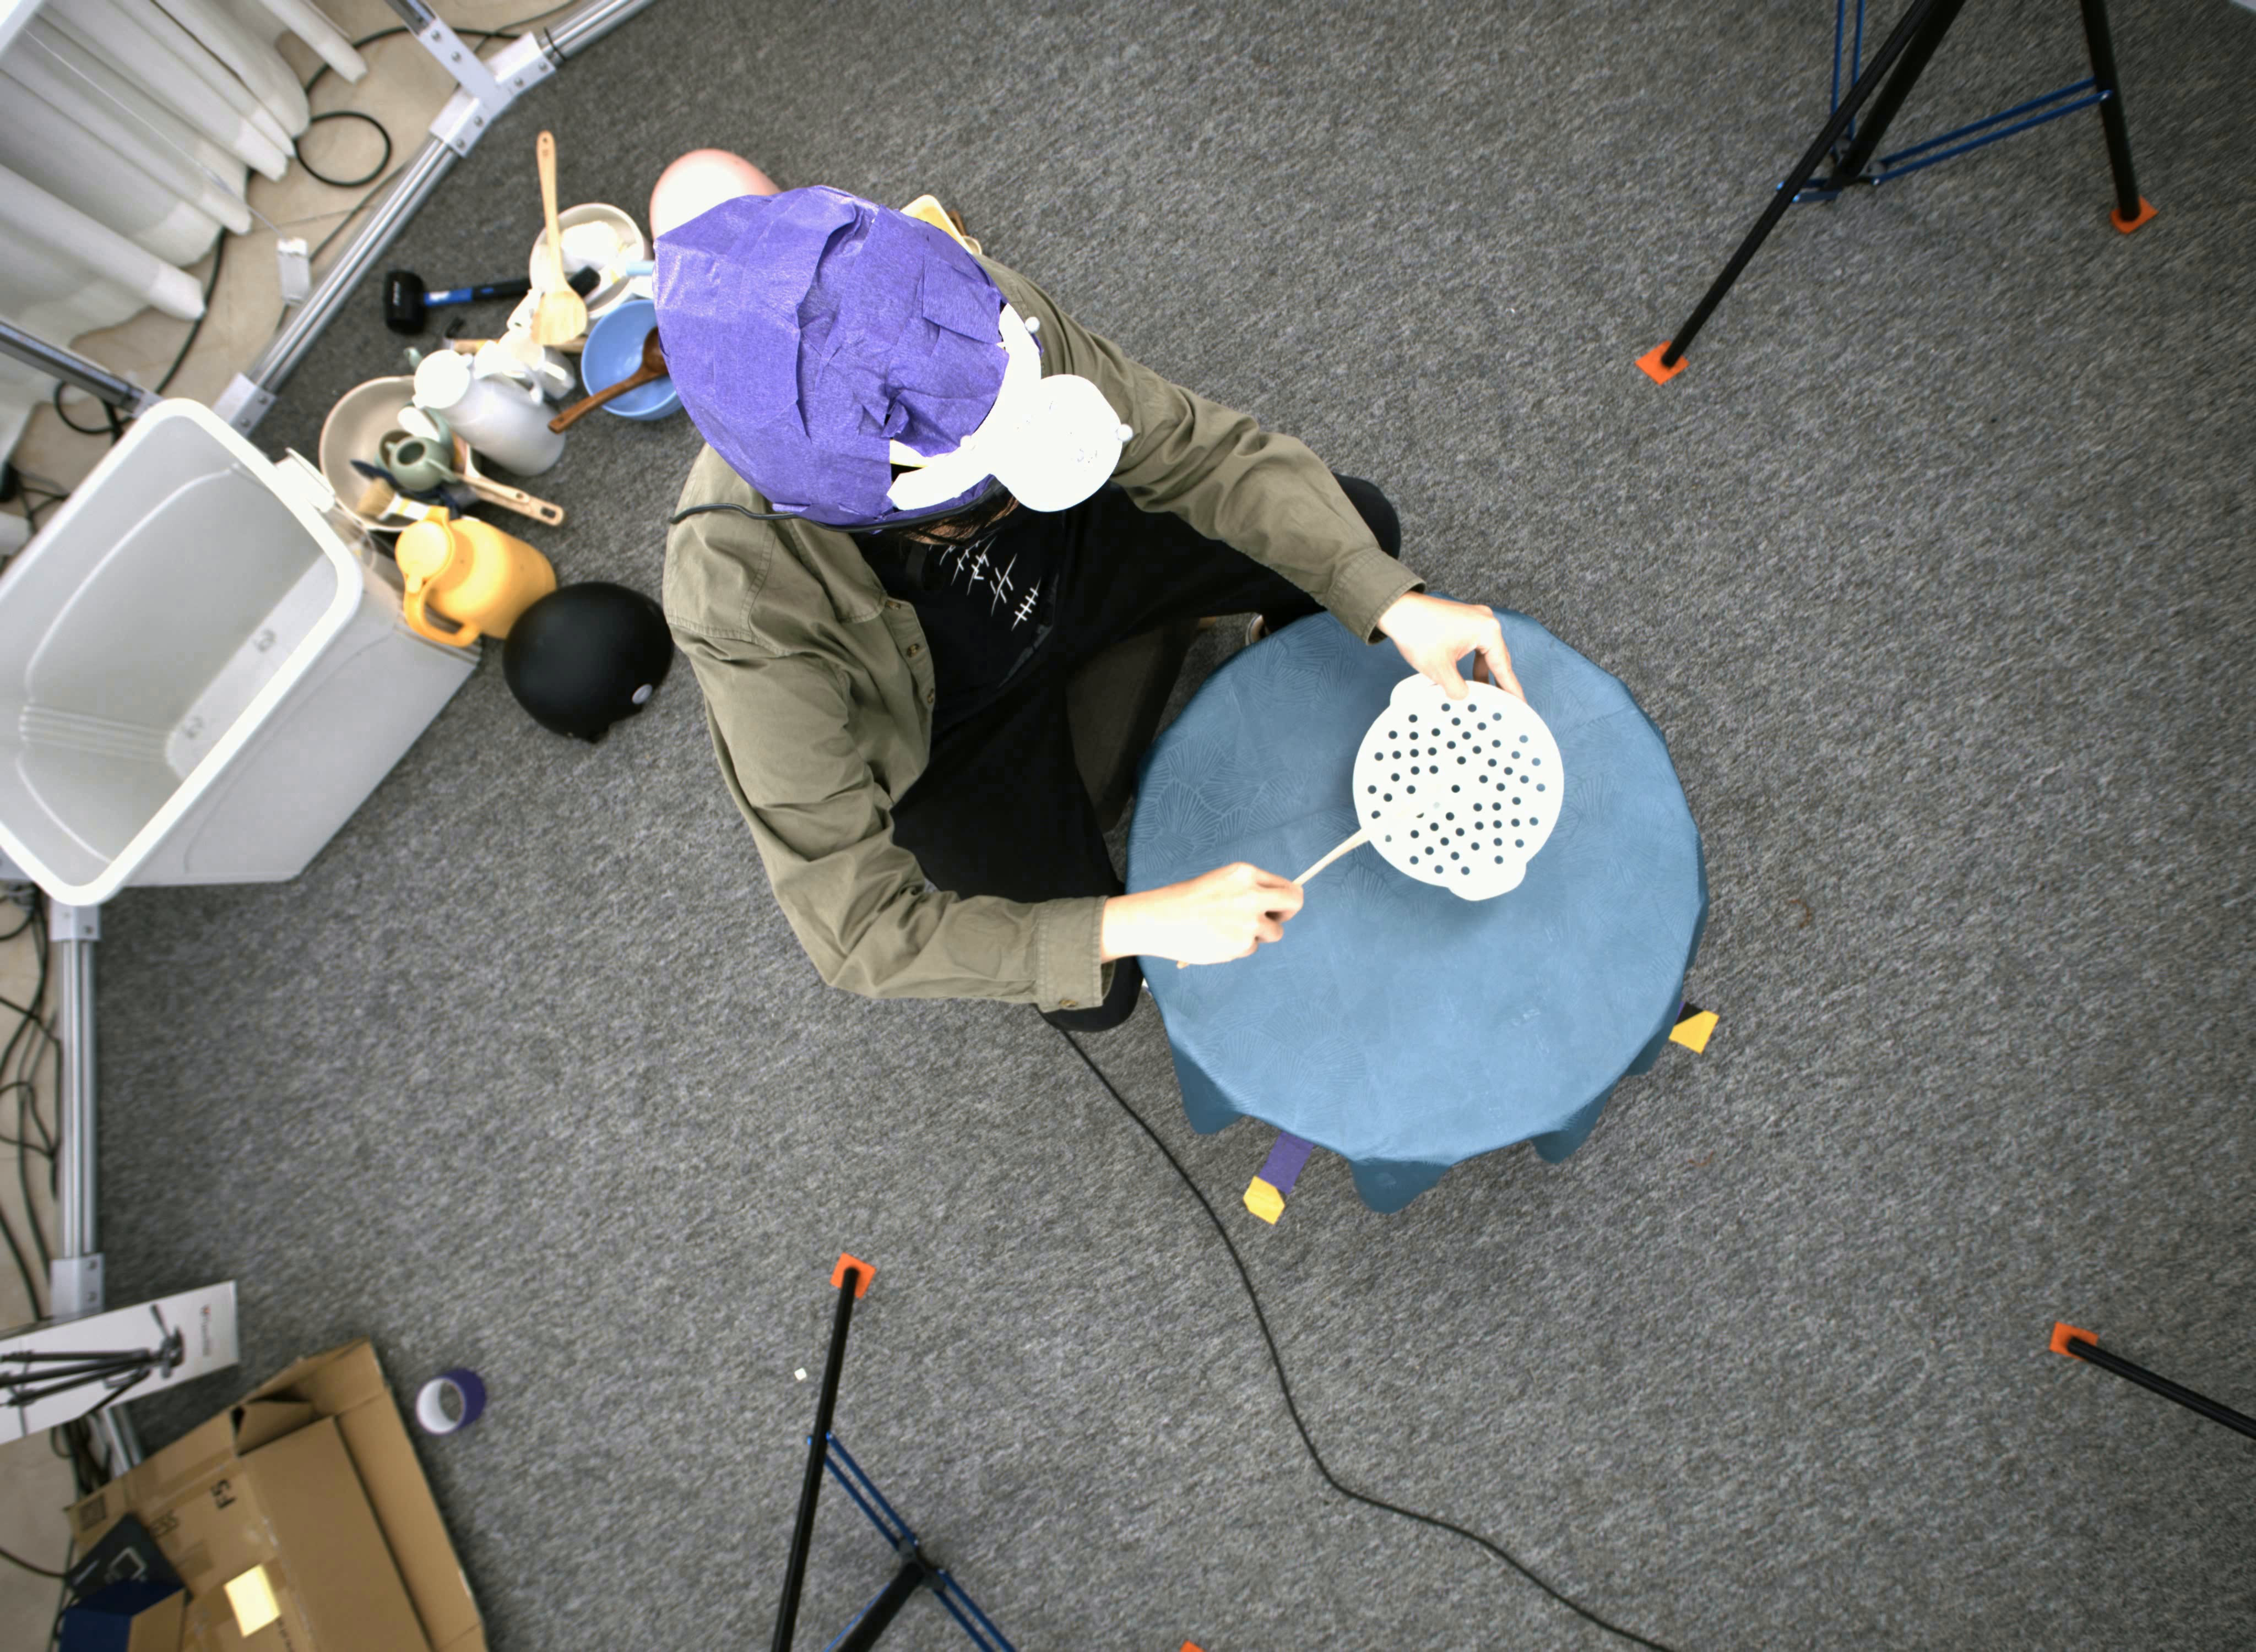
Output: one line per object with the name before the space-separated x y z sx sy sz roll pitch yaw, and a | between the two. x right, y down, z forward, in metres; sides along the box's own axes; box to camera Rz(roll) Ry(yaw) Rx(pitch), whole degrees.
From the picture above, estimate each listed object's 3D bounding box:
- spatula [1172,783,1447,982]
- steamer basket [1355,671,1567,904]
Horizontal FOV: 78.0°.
spatula | 0.170 0.049 1.262 0.324 0.081 0.016 -34 76 -17
steamer basket | 0.326 -0.037 1.354 0.203 0.069 0.229 -19 85 11
